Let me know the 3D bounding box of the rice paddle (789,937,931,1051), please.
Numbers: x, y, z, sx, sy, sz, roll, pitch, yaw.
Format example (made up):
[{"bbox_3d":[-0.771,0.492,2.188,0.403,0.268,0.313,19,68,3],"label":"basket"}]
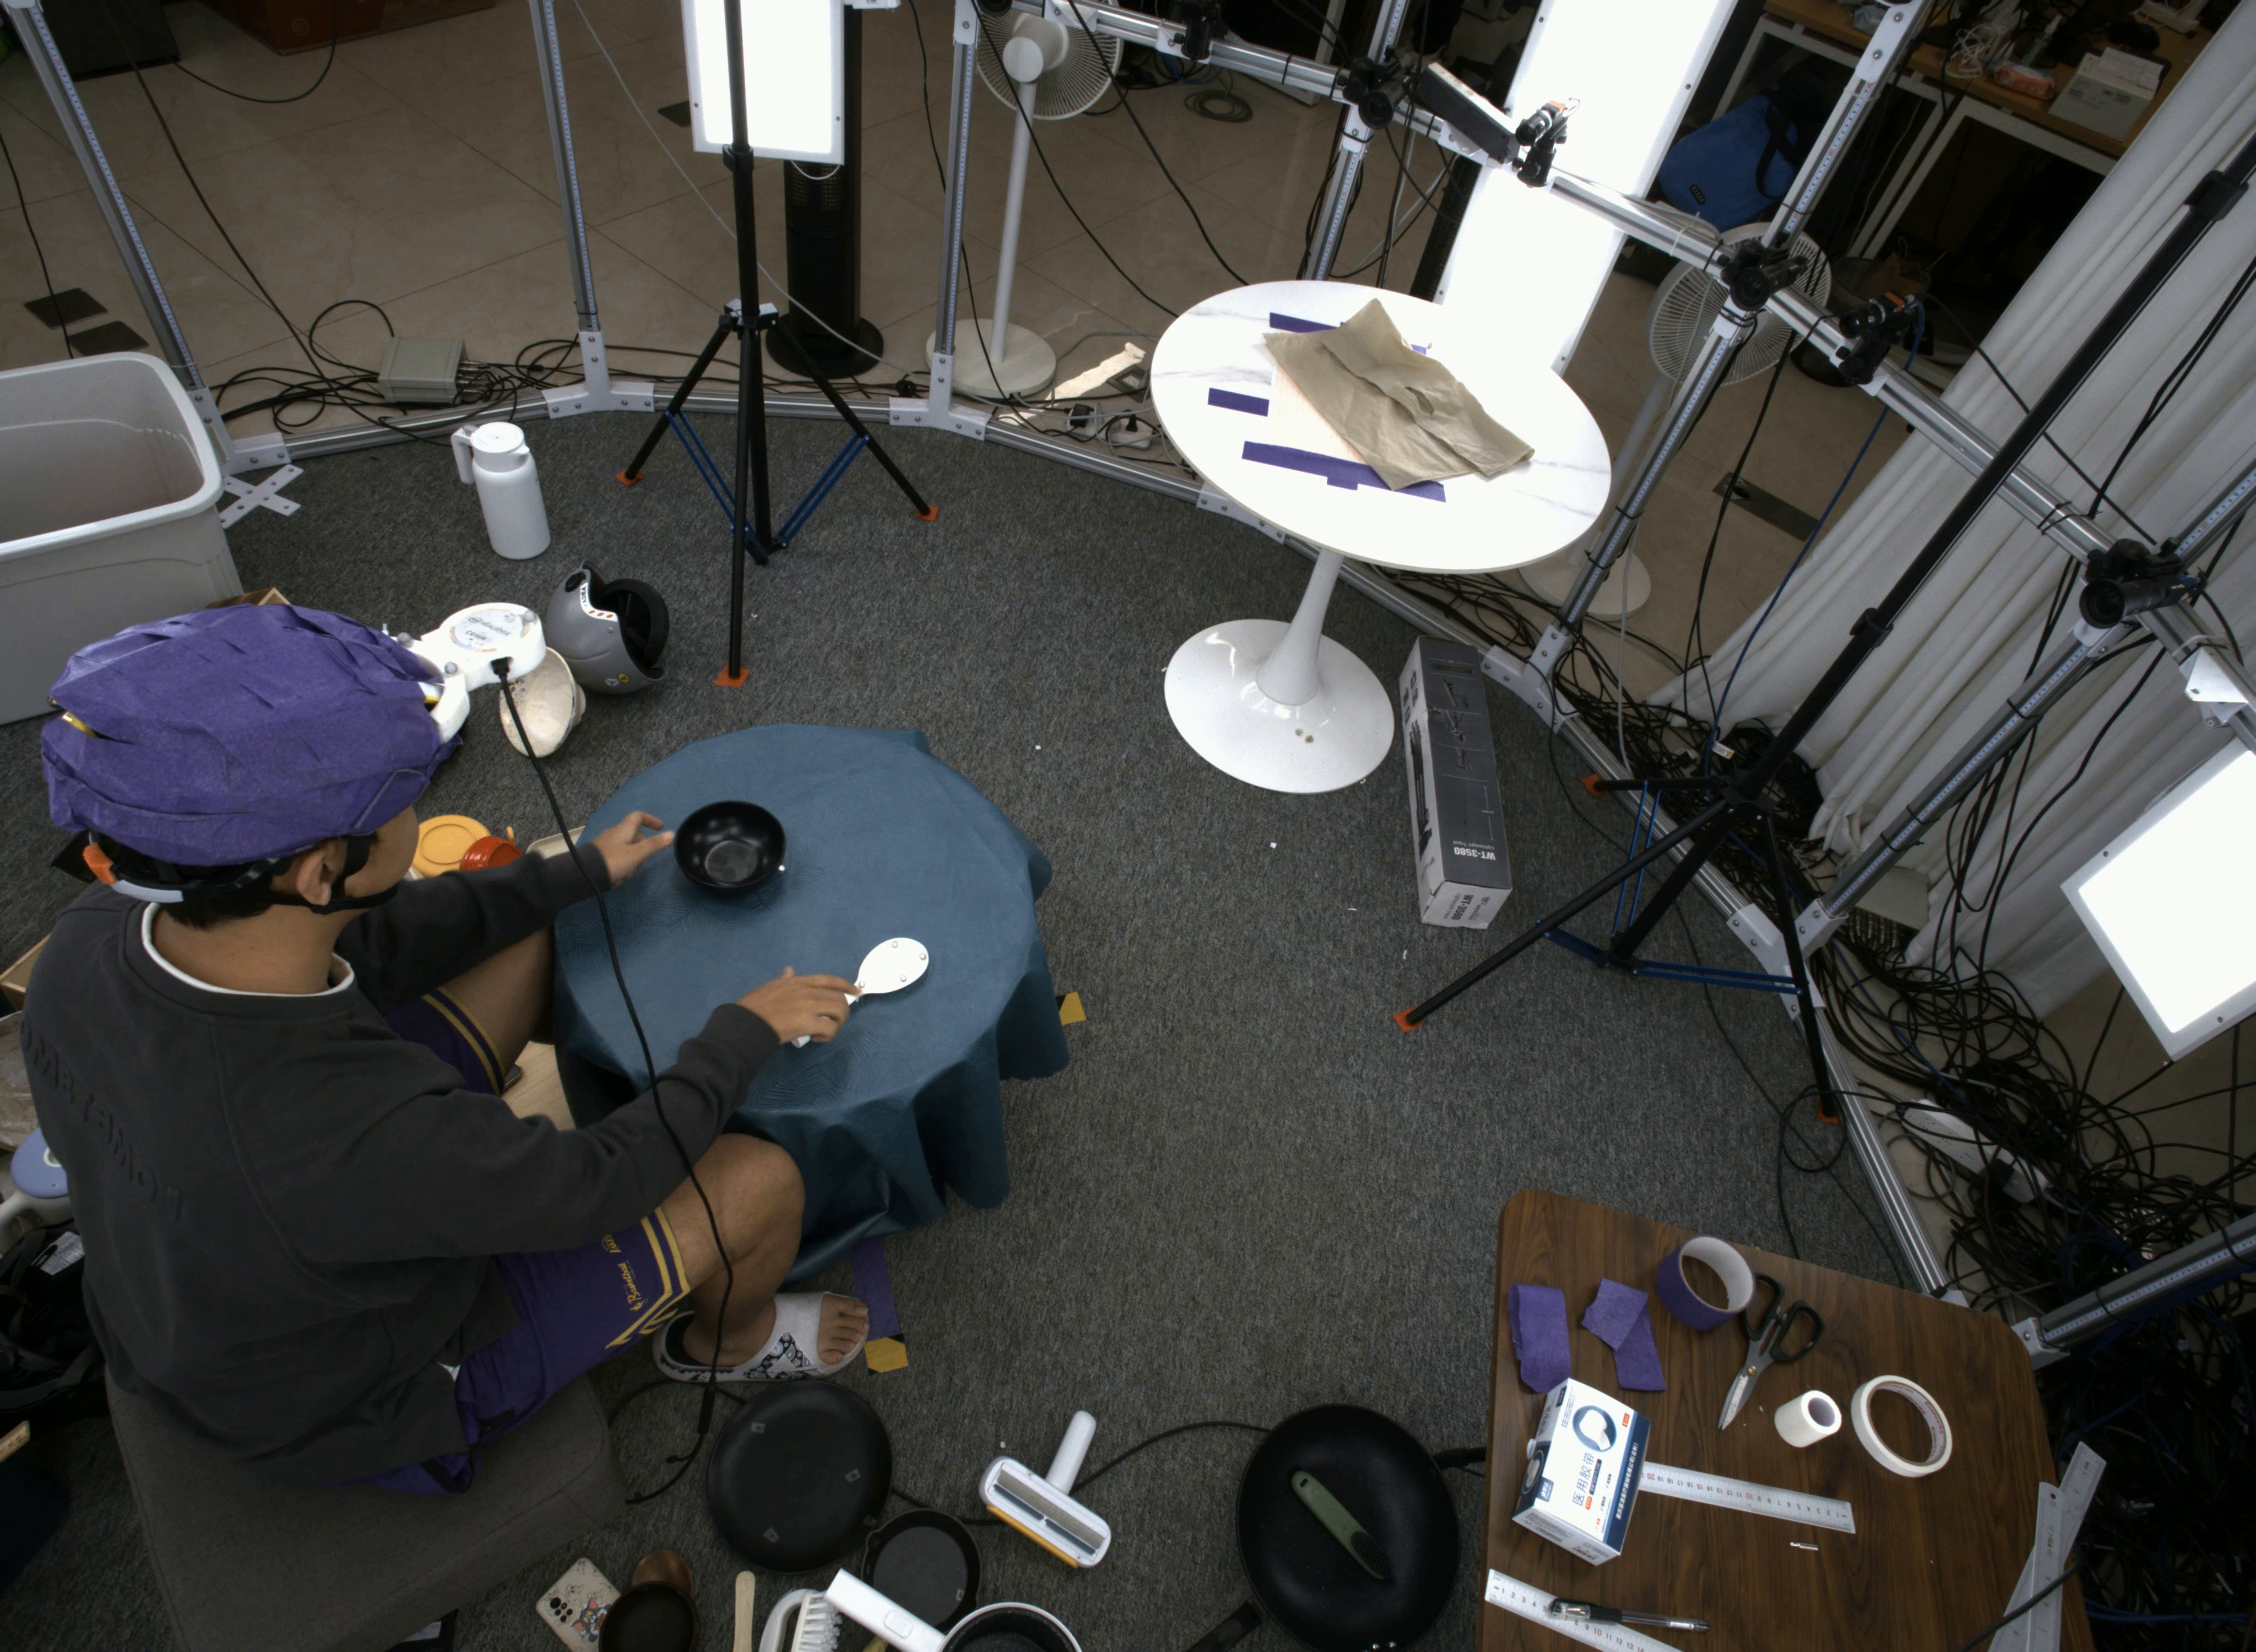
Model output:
[{"bbox_3d":[-0.325,0.198,1.588,0.067,0.030,0.205,40,55,18],"label":"rice paddle"}]

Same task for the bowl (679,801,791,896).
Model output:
[{"bbox_3d":[-0.501,0.035,1.652,0.140,0.051,0.137,8,53,-9],"label":"bowl"}]
